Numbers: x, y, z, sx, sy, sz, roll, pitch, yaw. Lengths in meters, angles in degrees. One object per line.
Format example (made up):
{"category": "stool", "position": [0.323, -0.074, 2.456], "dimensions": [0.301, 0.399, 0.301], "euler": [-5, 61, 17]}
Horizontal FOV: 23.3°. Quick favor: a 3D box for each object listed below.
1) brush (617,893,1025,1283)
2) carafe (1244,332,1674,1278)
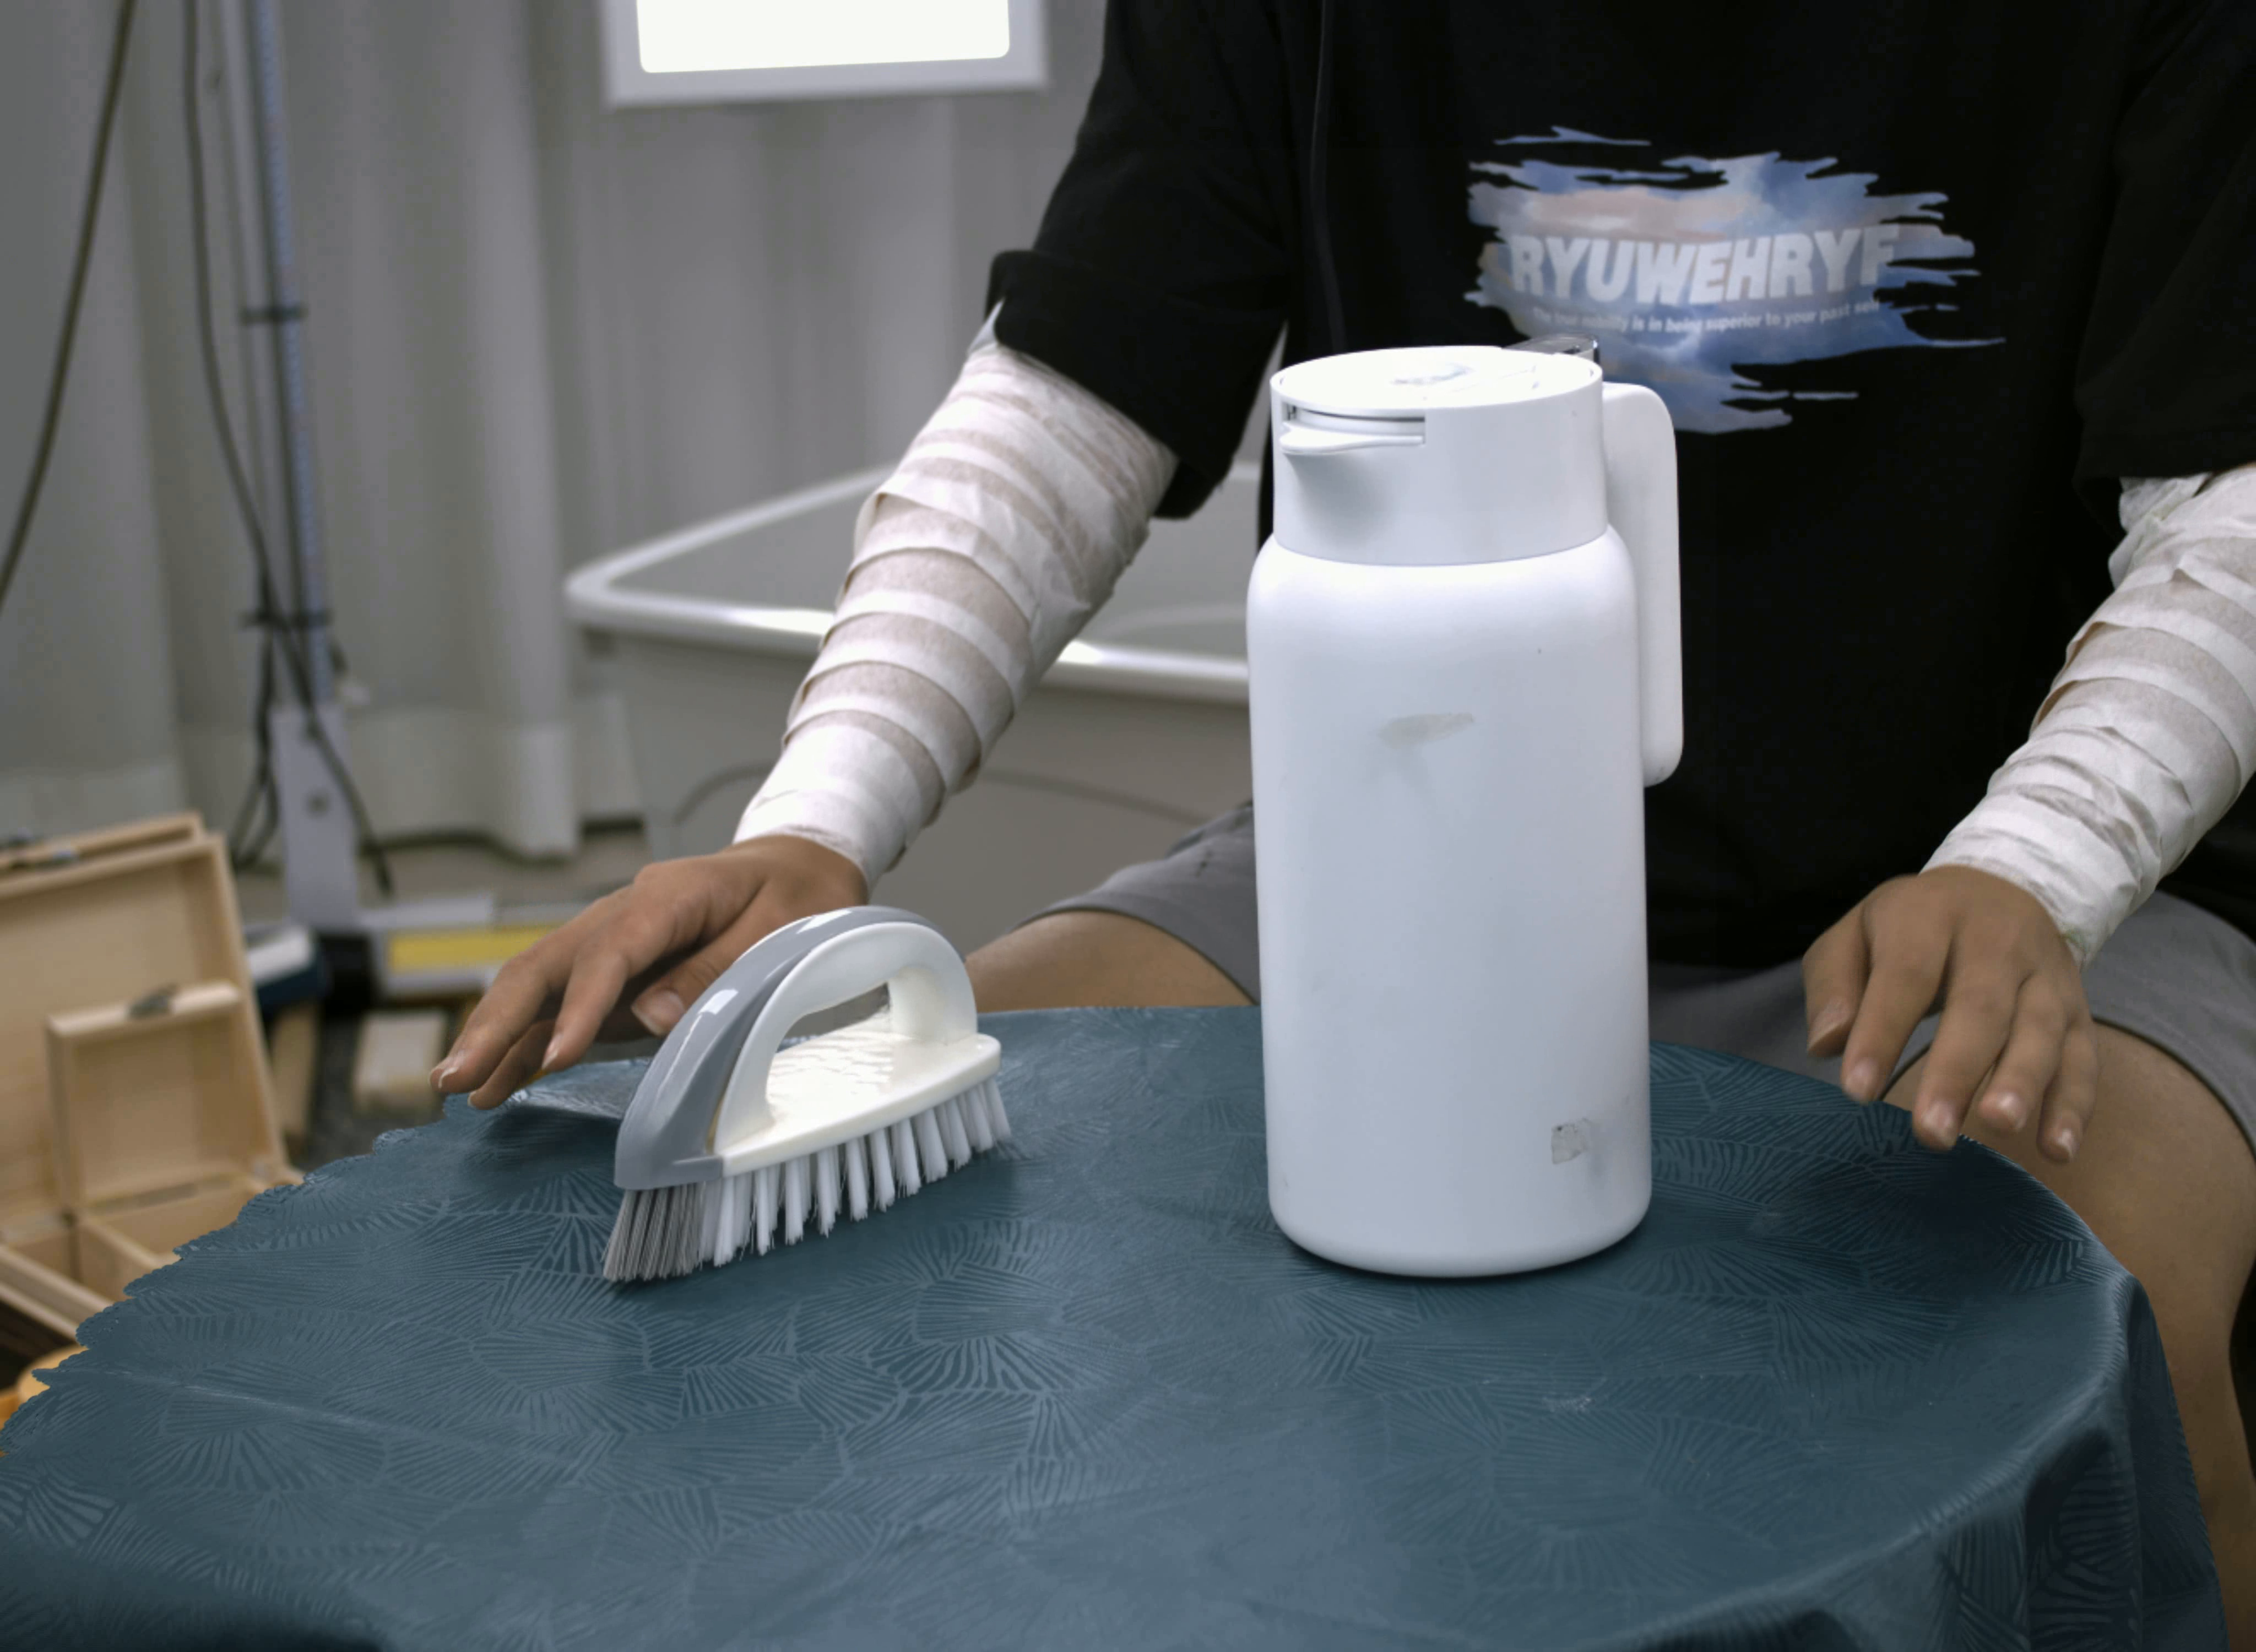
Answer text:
{"category": "brush", "position": [-0.104, 0.077, 1.699], "dimensions": [0.061, 0.094, 0.175], "euler": [5, 17, 35]}
{"category": "carafe", "position": [0.105, -0.011, 1.650], "dimensions": [0.124, 0.268, 0.172], "euler": [5, 15, 38]}
